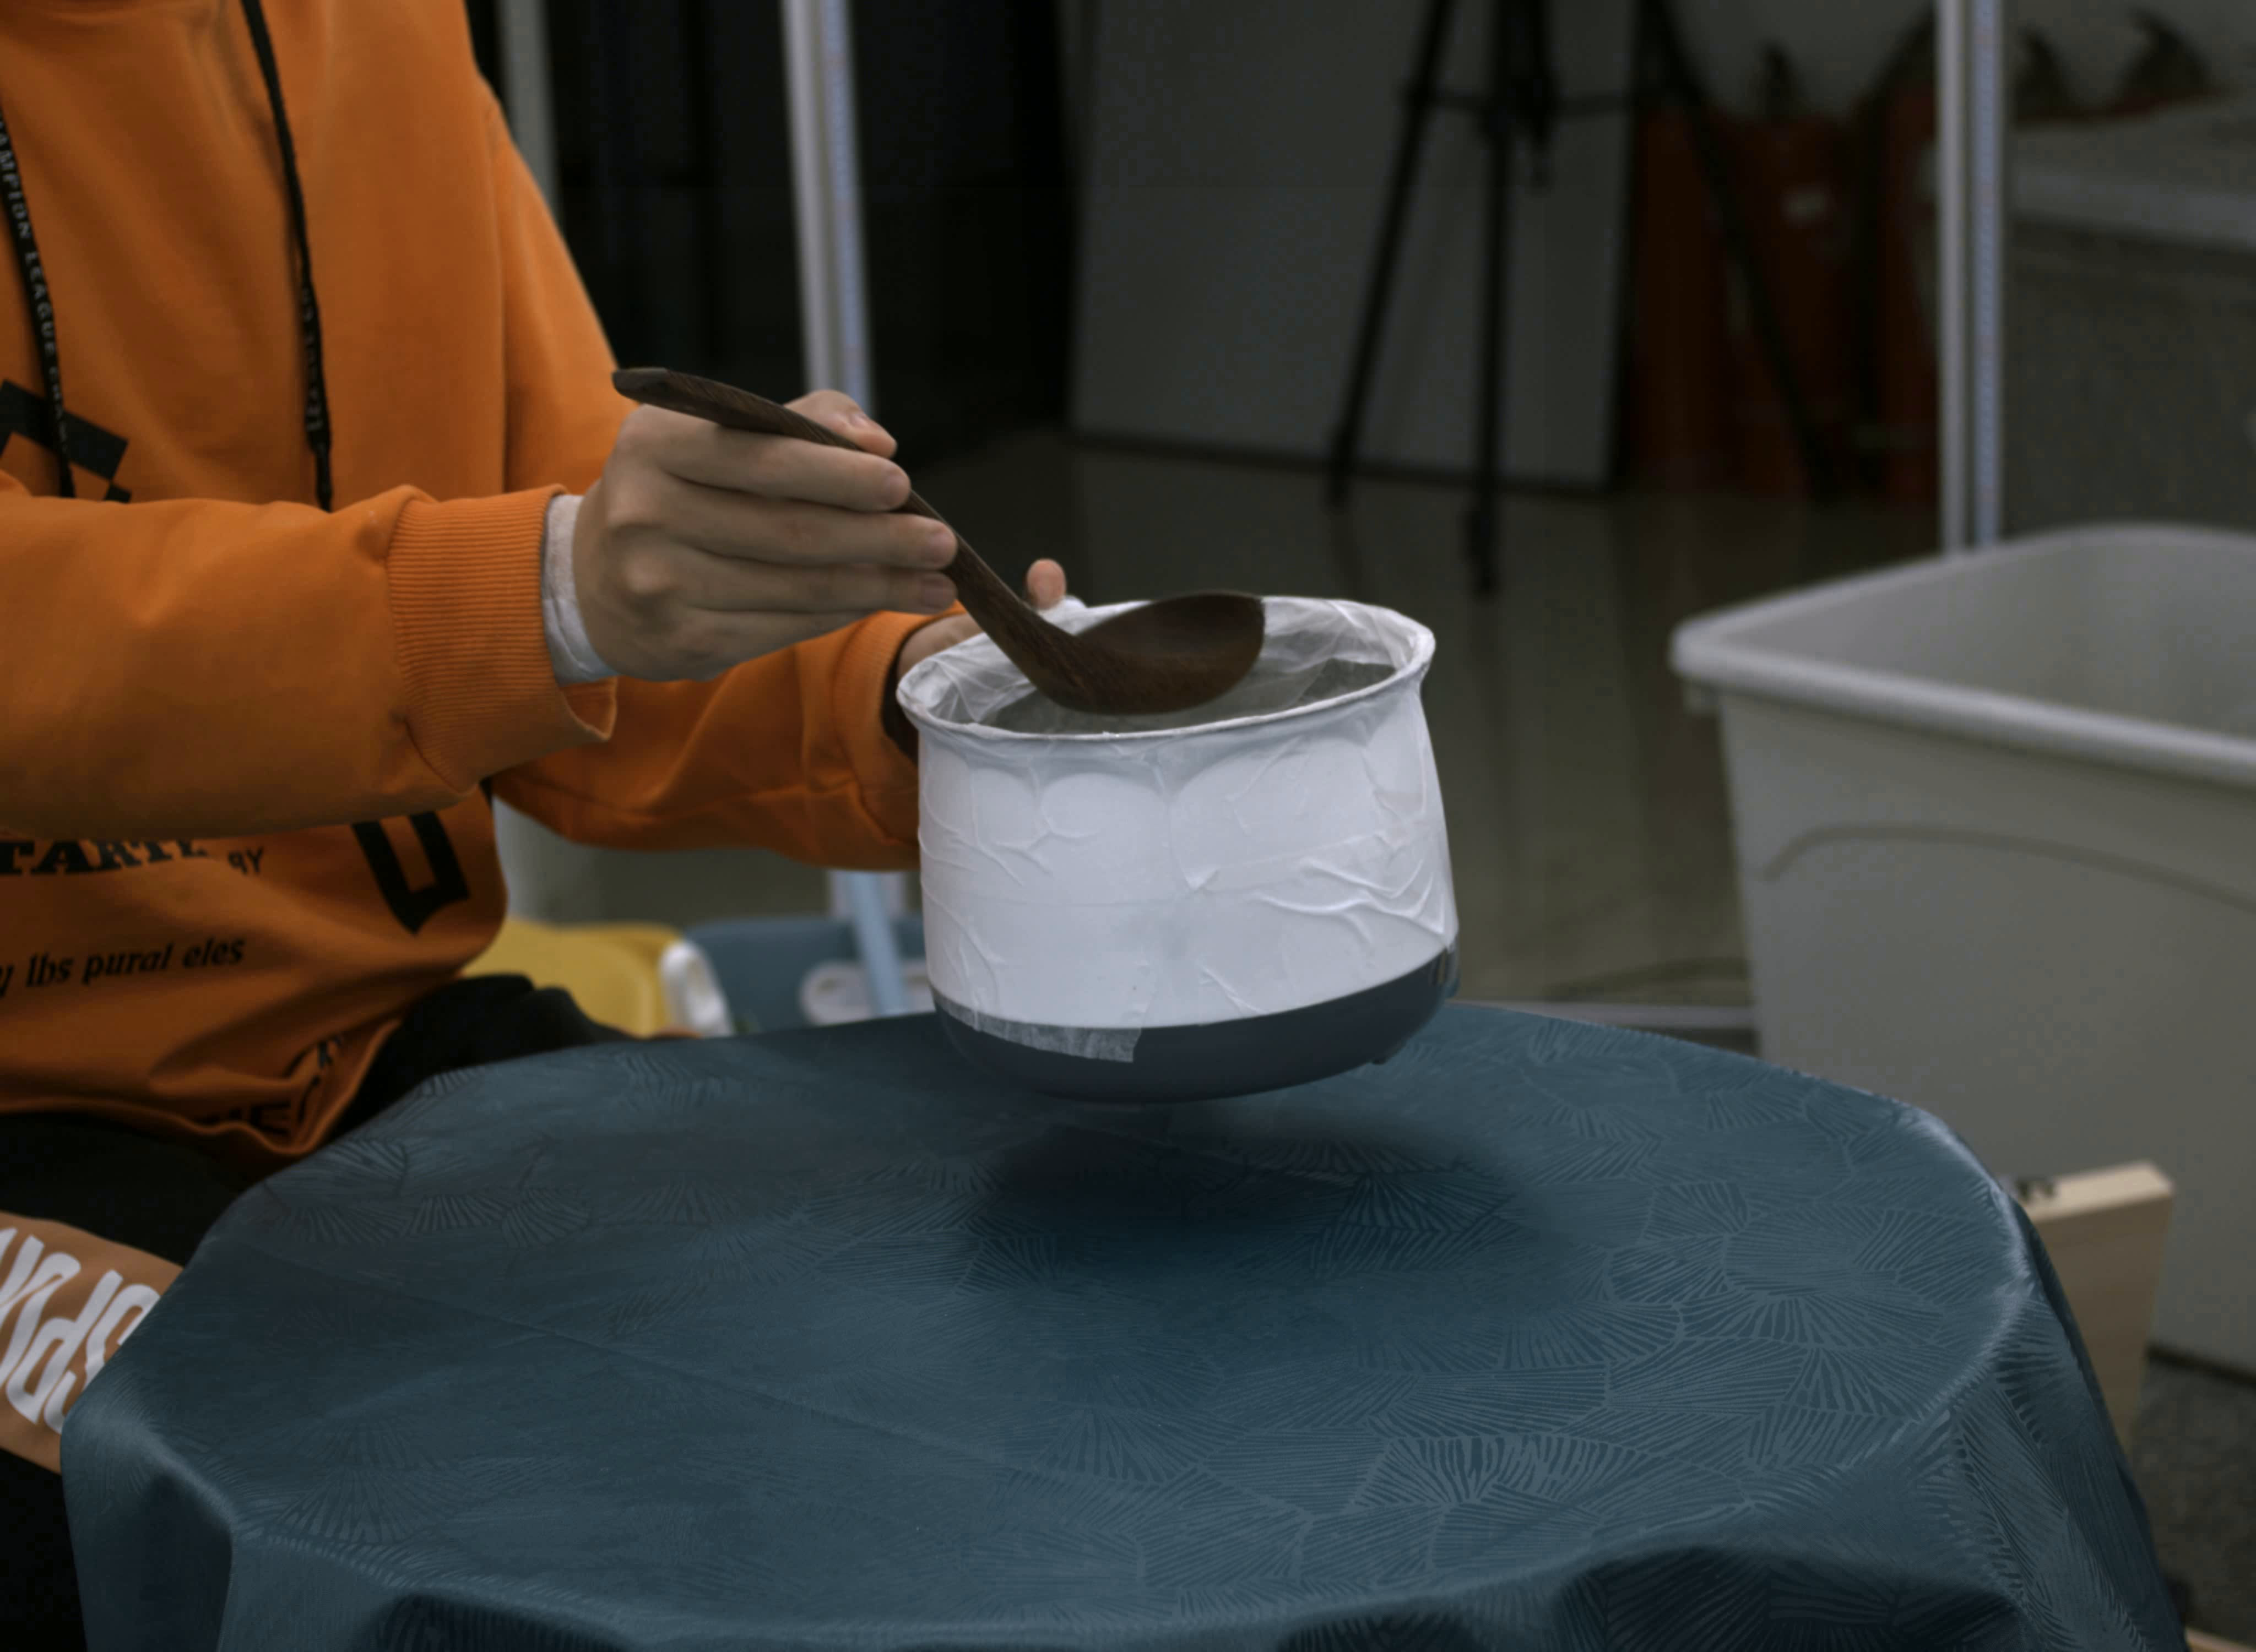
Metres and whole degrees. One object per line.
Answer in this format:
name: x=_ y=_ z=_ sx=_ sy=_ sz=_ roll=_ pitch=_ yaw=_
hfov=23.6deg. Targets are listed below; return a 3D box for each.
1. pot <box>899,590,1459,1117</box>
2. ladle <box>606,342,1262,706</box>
pot: x=0.008 y=0.002 z=1.785 sx=0.175 sy=0.138 sz=0.236 roll=-11 pitch=15 yaw=-19
ladle: x=-0.058 y=-0.110 z=1.709 sx=0.076 sy=0.072 sz=0.270 roll=-3 pitch=-29 yaw=43
